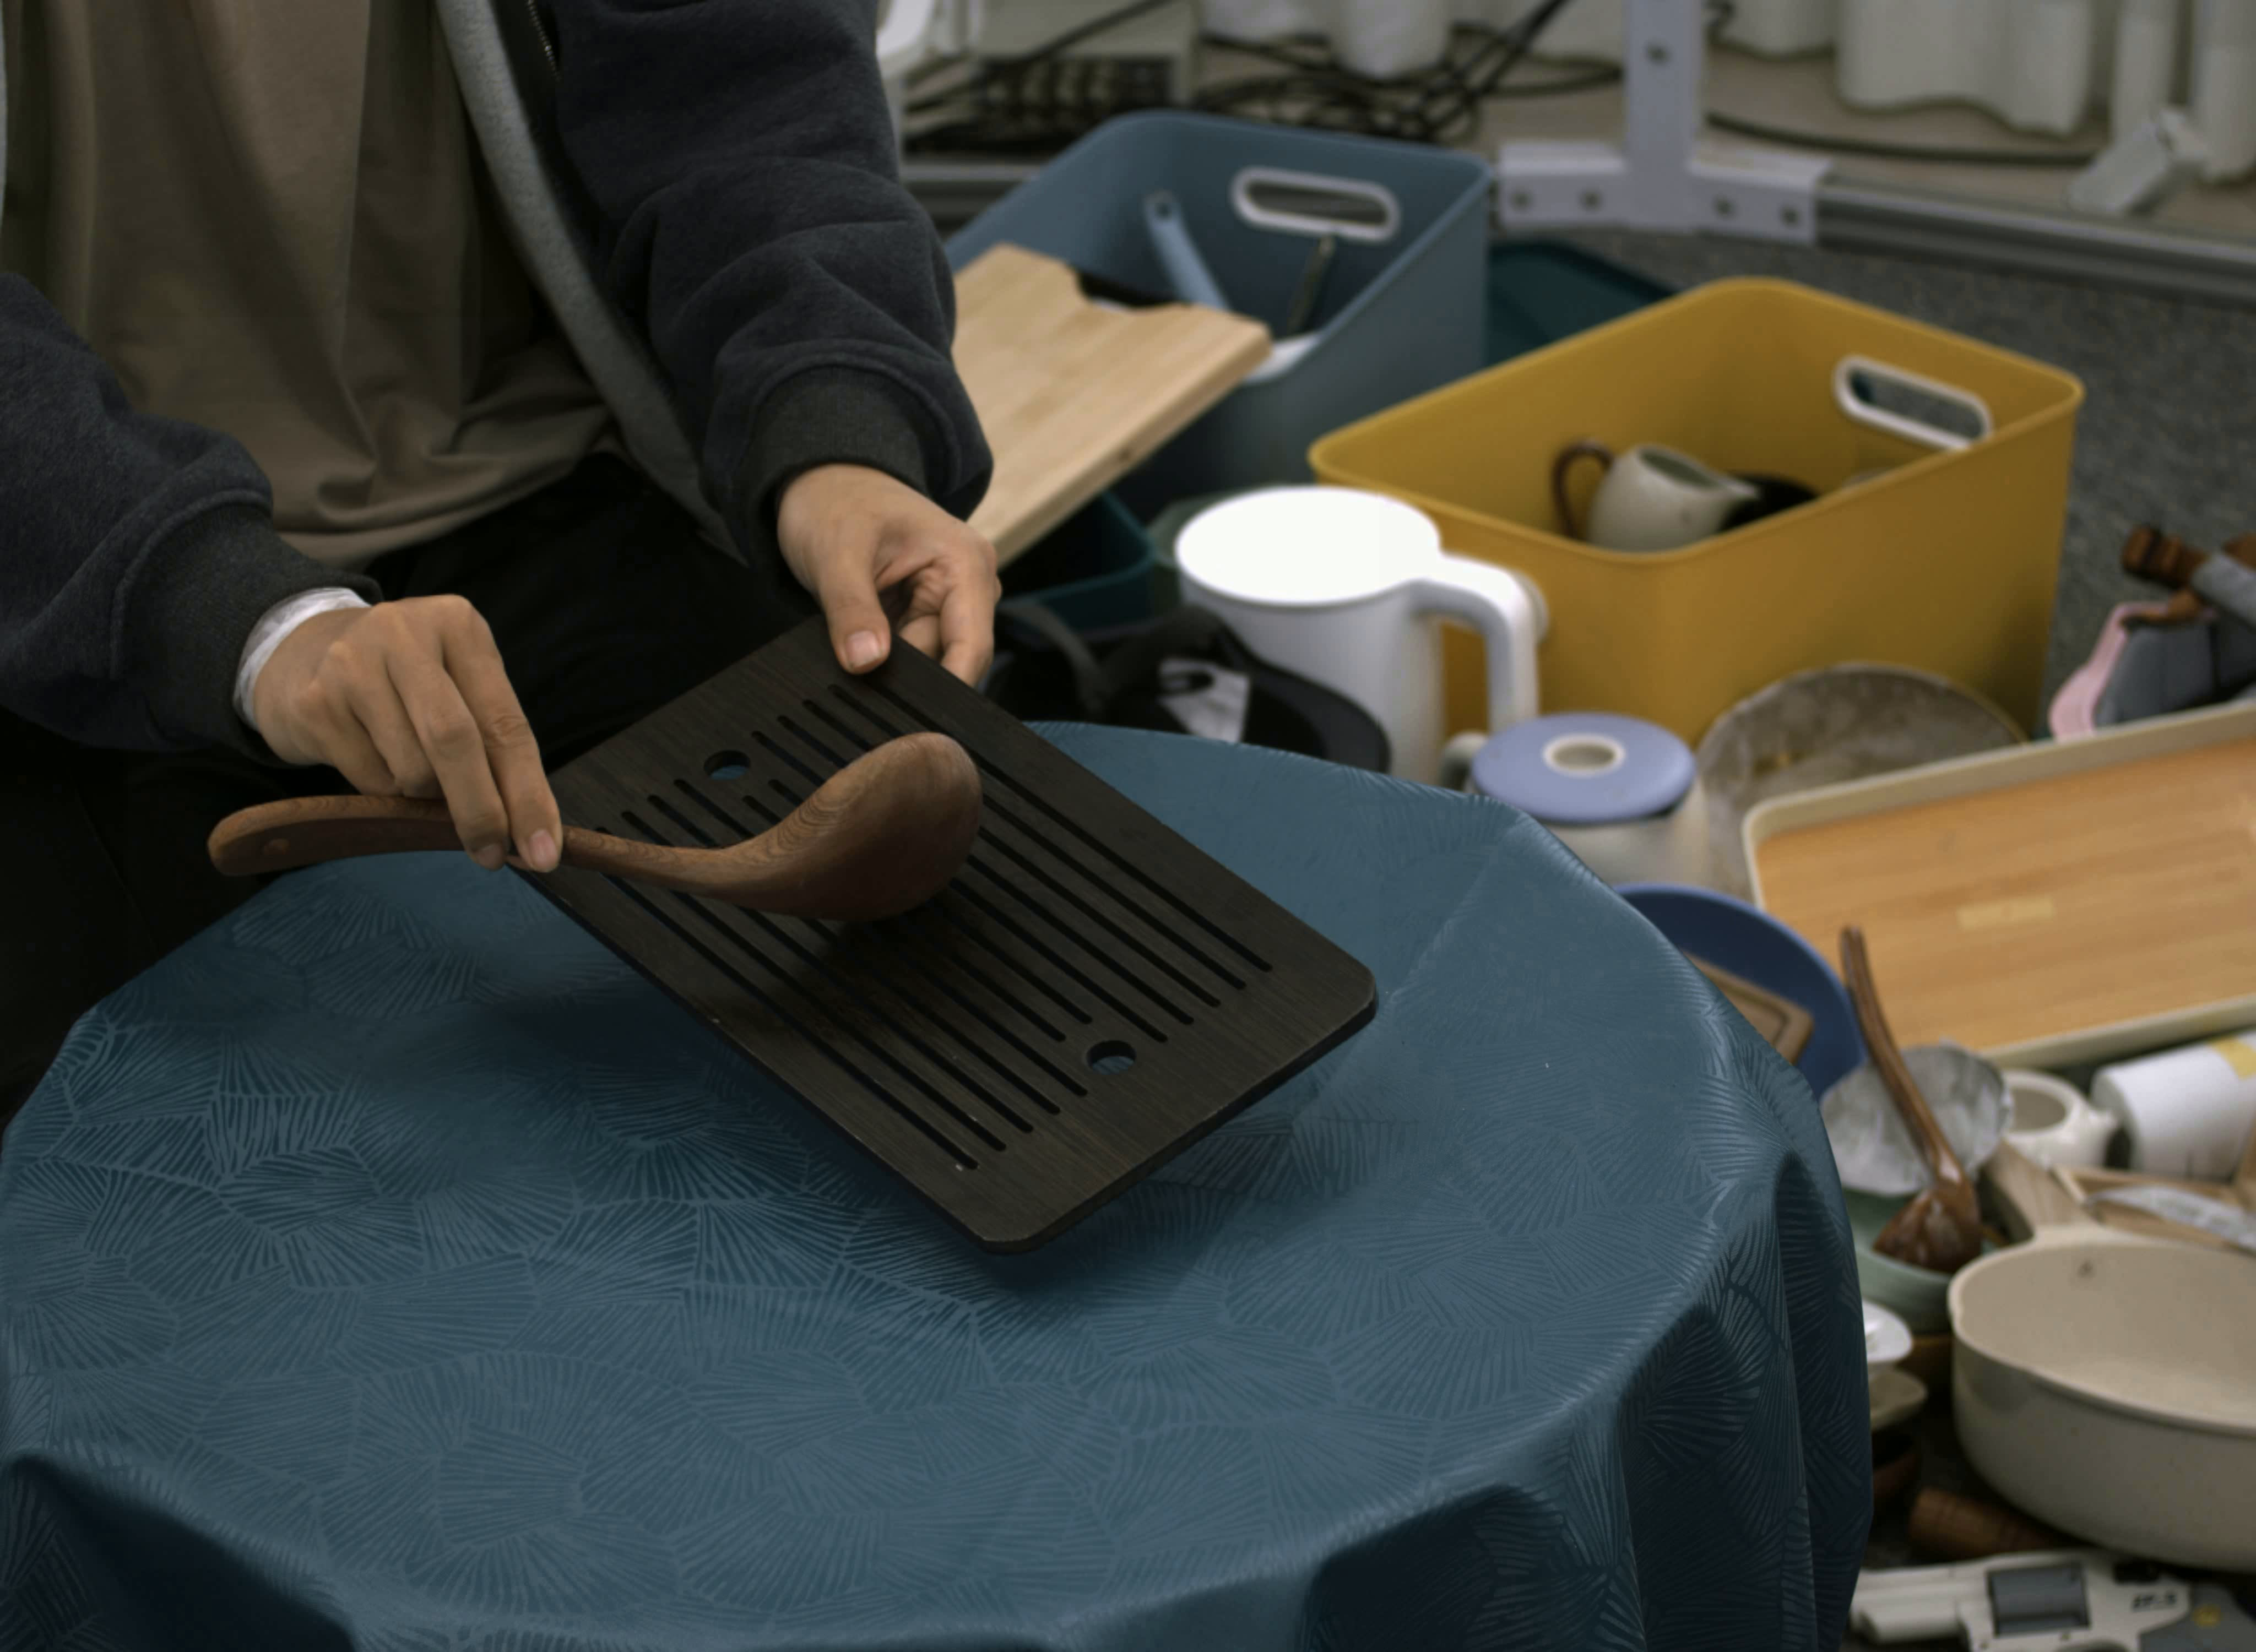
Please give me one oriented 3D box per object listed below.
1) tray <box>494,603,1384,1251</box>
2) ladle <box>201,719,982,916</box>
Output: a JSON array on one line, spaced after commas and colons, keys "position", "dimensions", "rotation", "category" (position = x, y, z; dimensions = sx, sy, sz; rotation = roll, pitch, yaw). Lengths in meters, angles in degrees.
[{"position": [-0.069, 0.031, 1.925], "dimensions": [0.172, 0.018, 0.307], "rotation": [-32, 46, -25], "category": "tray"}, {"position": [-0.179, -0.005, 1.893], "dimensions": [0.259, 0.075, 0.066], "rotation": [3, 47, 3], "category": "ladle"}]
